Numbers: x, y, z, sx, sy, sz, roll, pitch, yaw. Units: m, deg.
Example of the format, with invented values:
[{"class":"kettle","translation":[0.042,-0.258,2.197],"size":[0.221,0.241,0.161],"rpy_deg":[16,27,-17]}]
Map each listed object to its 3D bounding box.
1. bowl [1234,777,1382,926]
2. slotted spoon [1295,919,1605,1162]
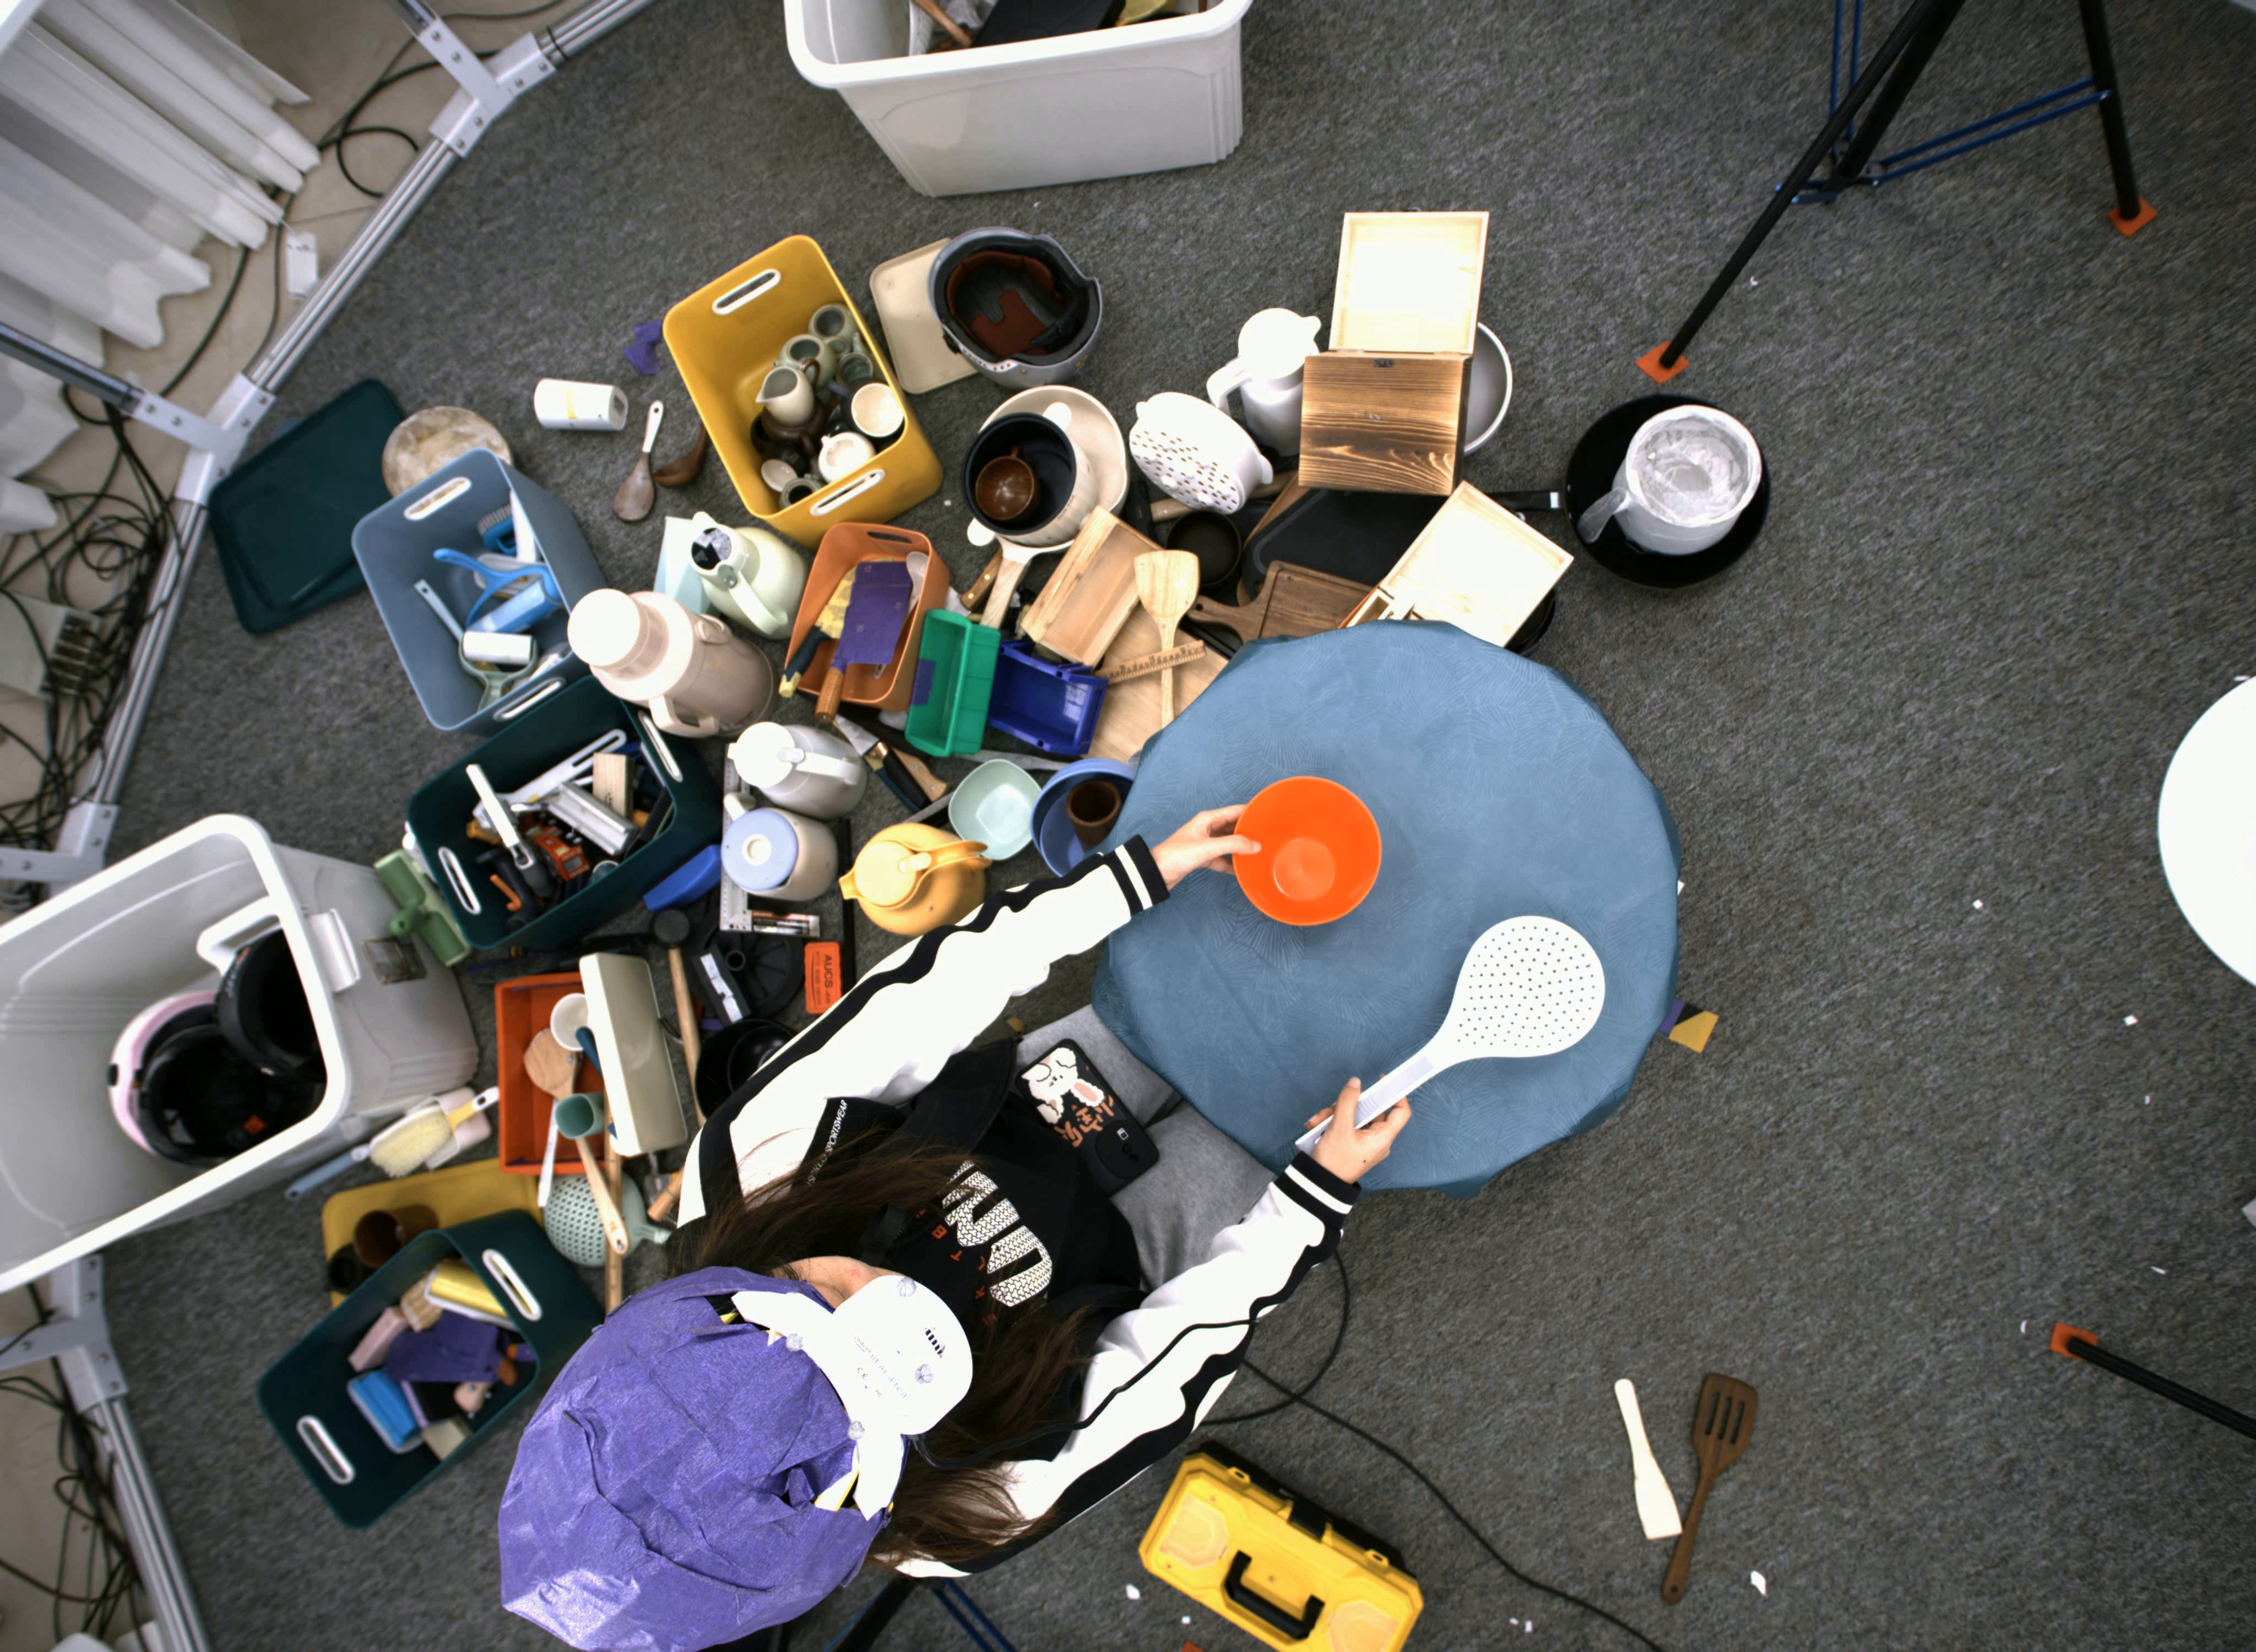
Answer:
[{"class":"bowl","translation":[0.182,0.029,1.416],"size":[0.148,0.105,0.147],"rpy_deg":[0,86,6]},{"class":"slotted spoon","translation":[0.314,0.222,1.371],"size":[0.350,0.046,0.134],"rpy_deg":[-35,72,1]}]
